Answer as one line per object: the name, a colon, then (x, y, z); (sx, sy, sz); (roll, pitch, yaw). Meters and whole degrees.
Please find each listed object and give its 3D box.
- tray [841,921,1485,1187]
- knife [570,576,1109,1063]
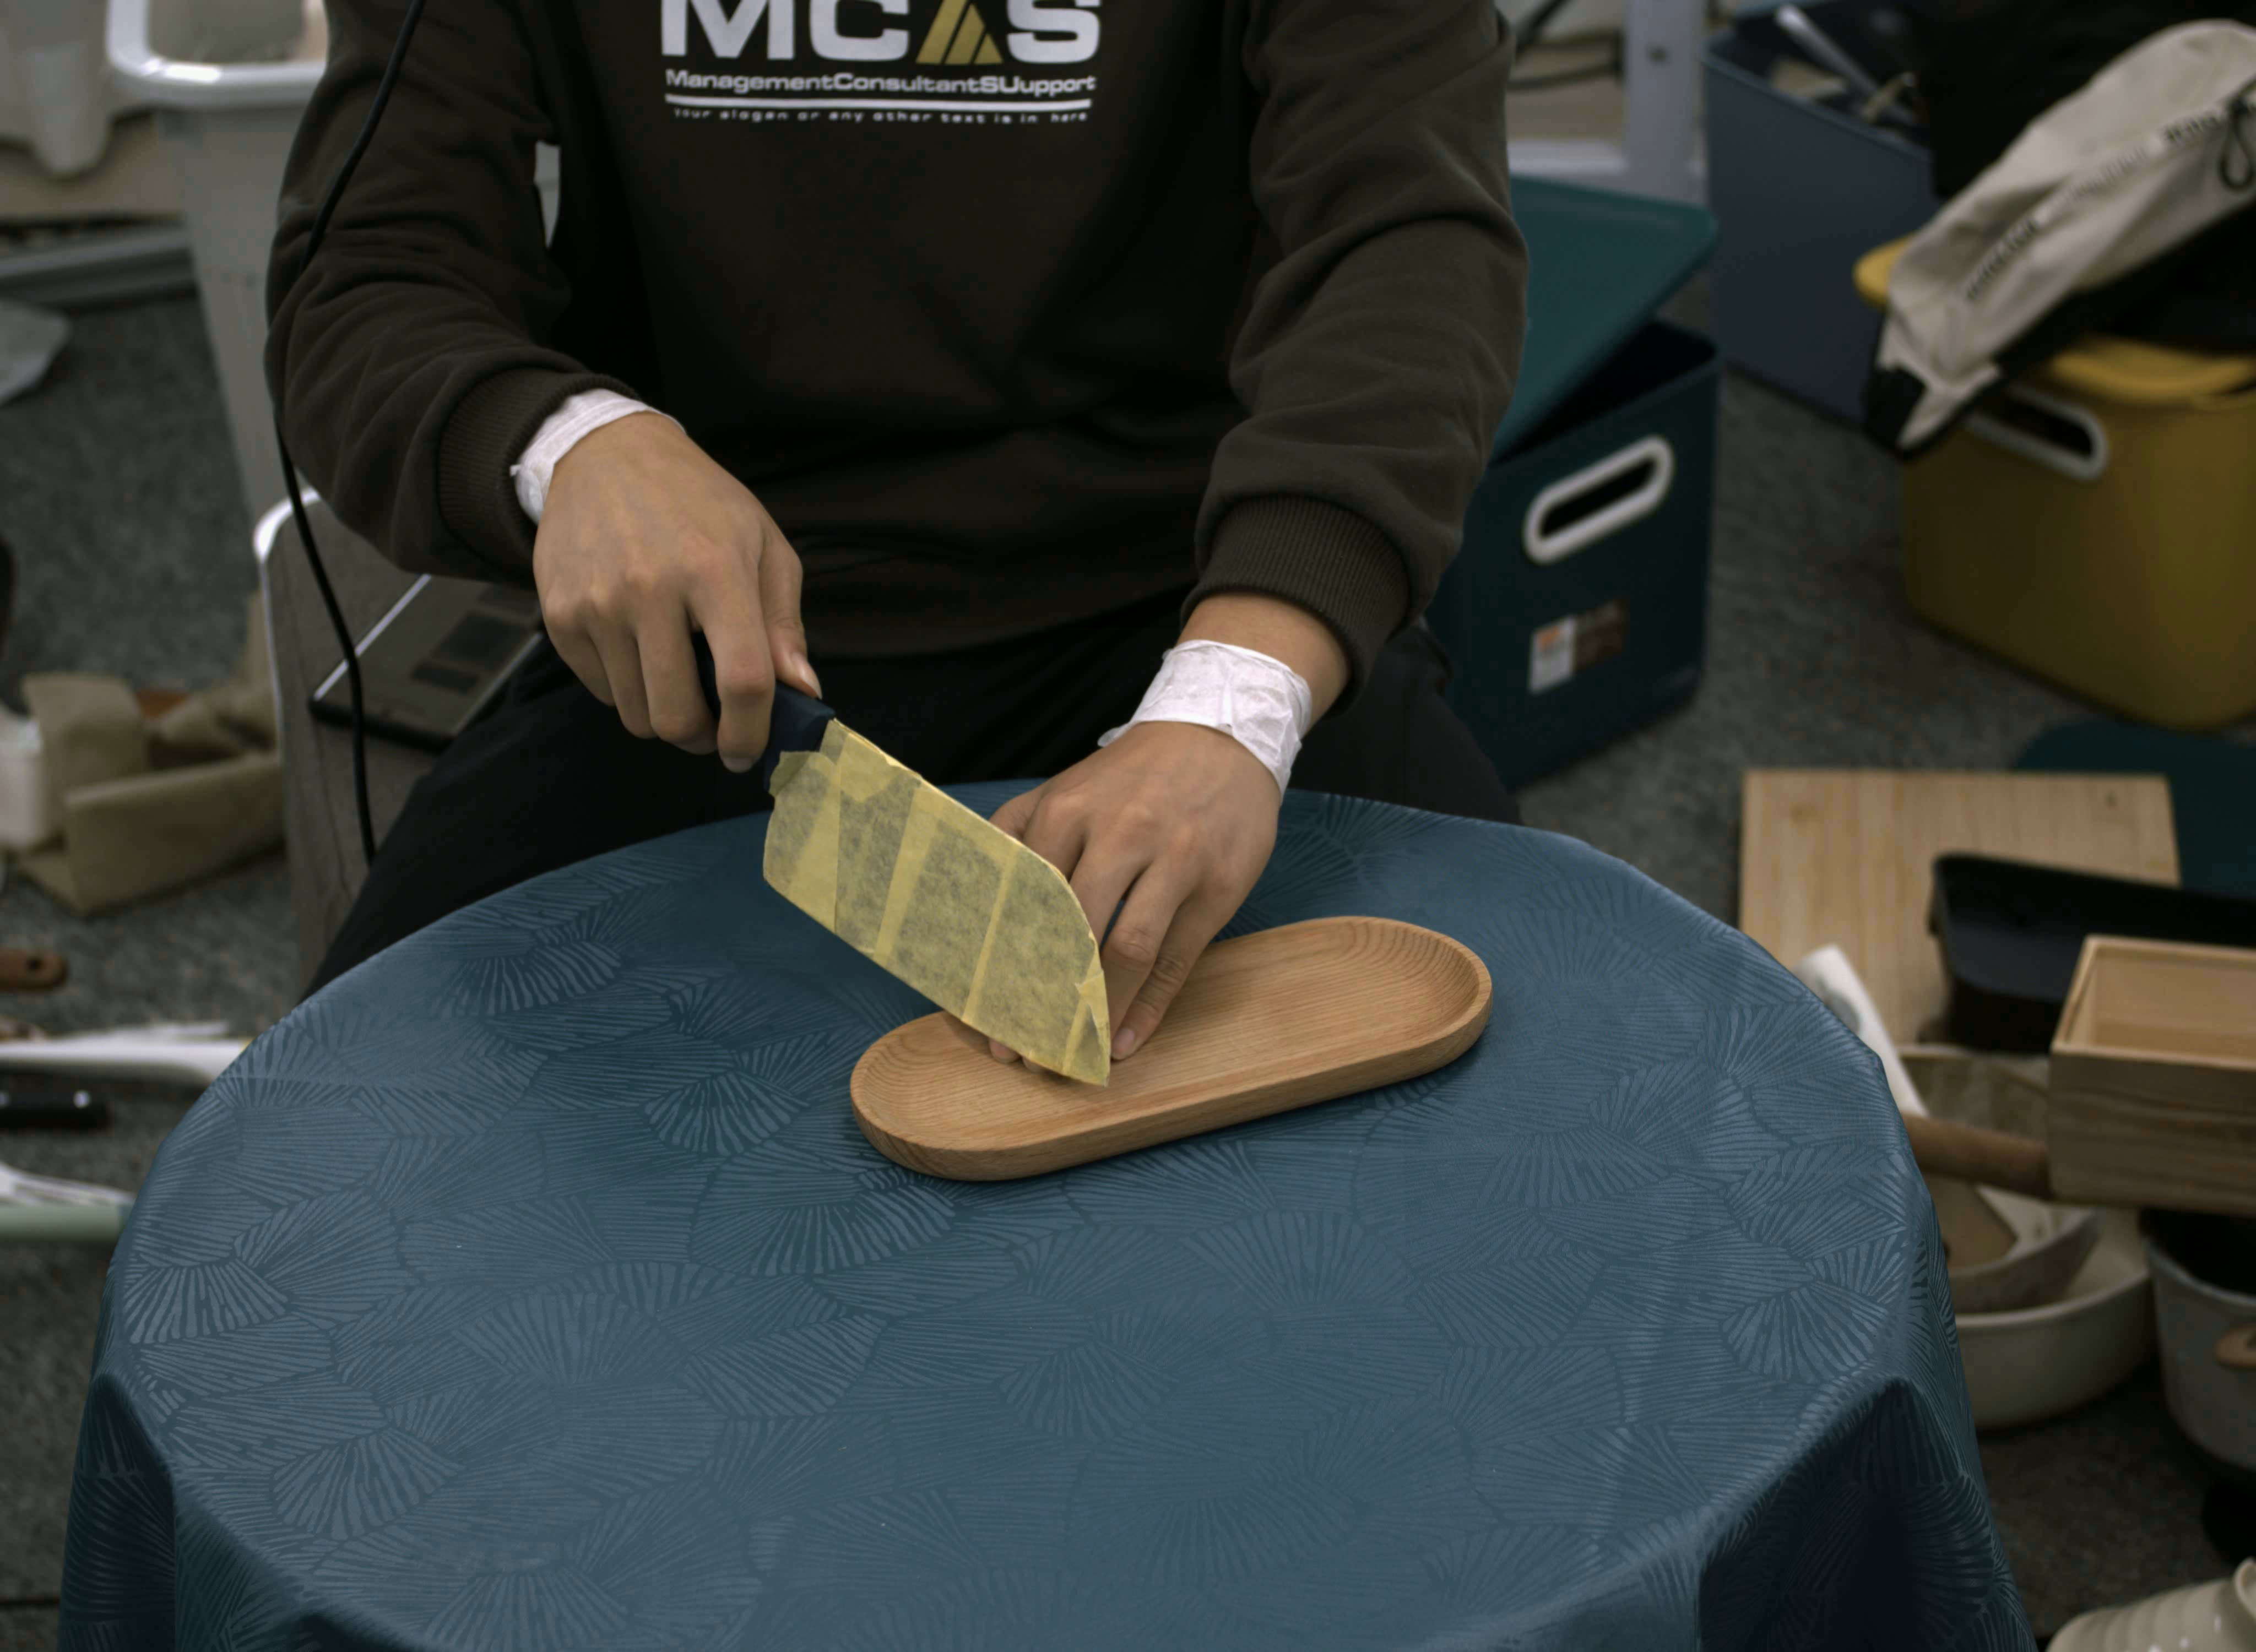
tray: (0.013, 0.078, 1.928); (0.232, 0.020, 0.102); (-15, 28, -19)
knife: (-0.103, -0.004, 1.967); (0.027, 0.080, 0.290); (-6, 35, -48)
